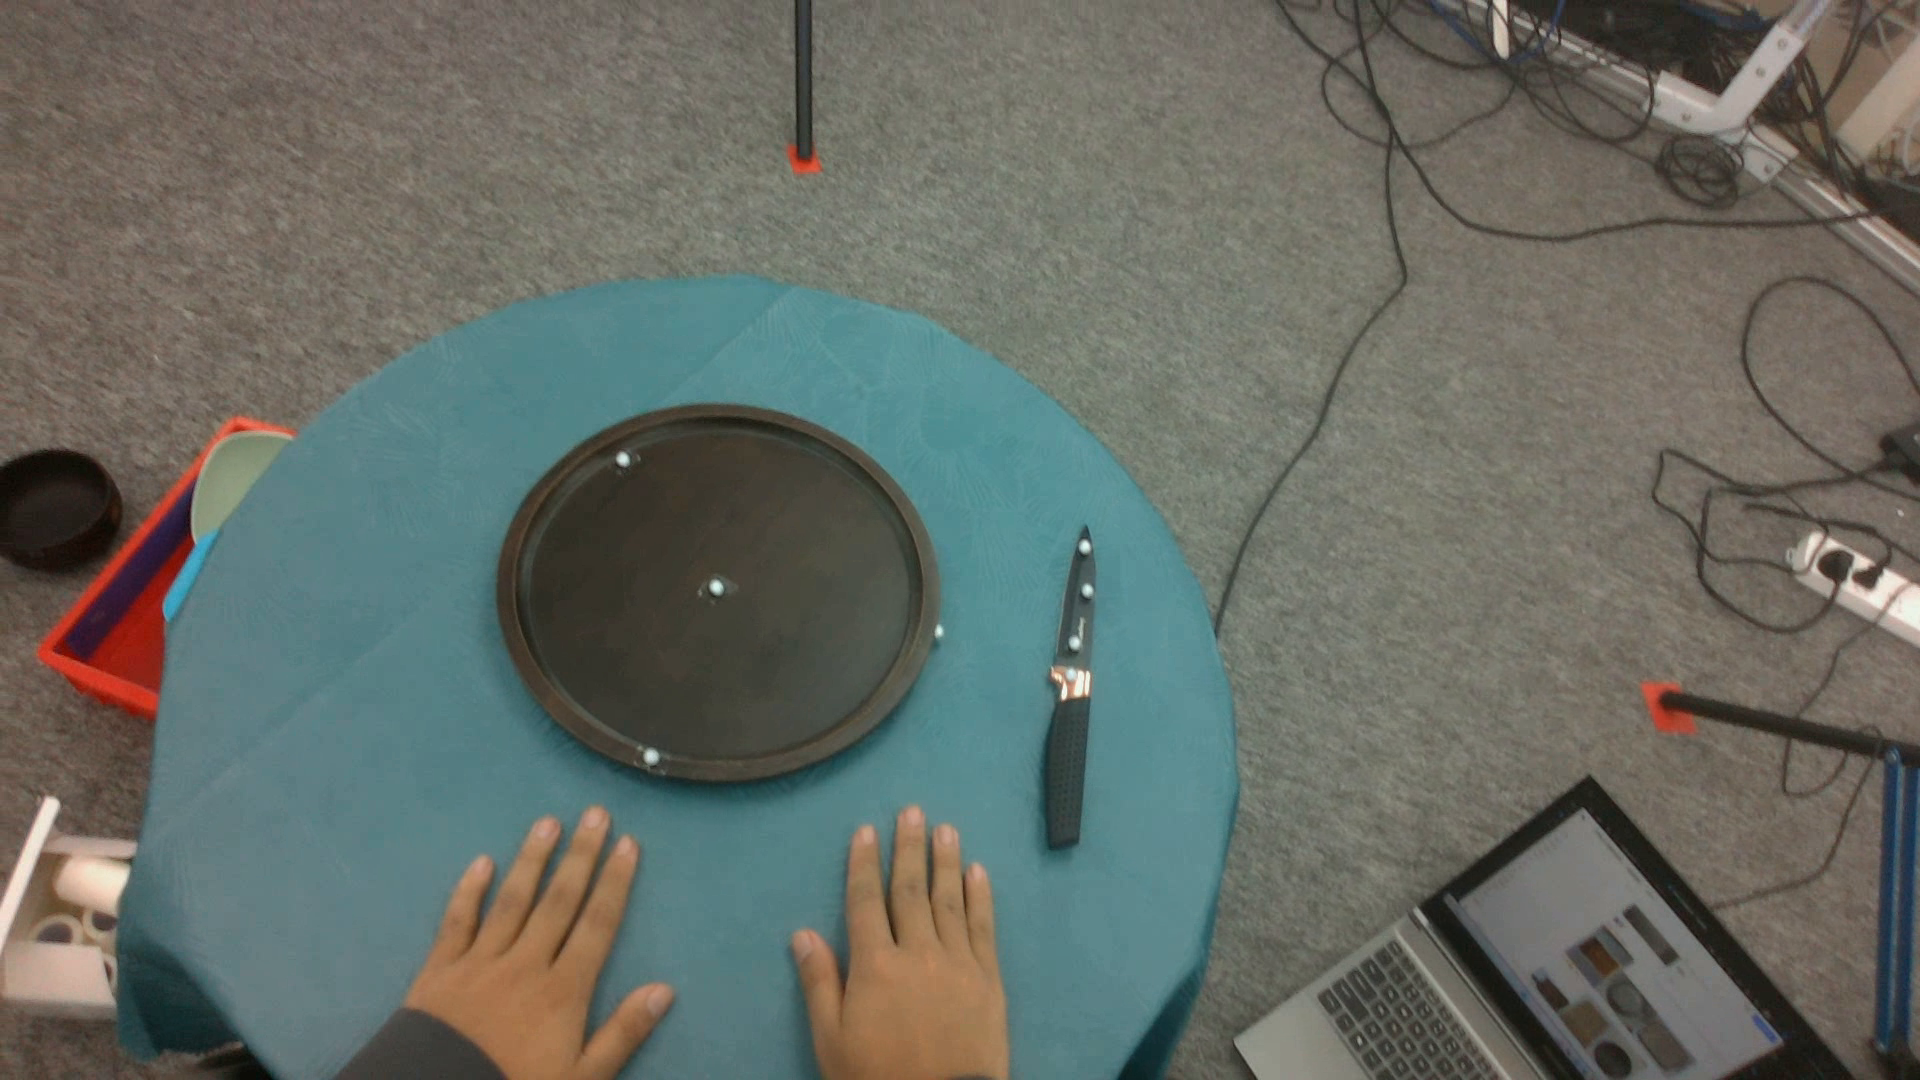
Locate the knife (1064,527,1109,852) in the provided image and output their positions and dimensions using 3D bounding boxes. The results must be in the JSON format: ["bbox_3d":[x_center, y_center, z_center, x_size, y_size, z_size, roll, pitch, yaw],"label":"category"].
[{"bbox_3d":[0.078,0.083,0.837,0.026,0.017,0.226,5,54,2],"label":"knife"}]

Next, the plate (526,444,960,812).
[{"bbox_3d":[-0.127,0.046,0.823,0.255,0.029,0.256,5,56,-7],"label":"plate"}]
